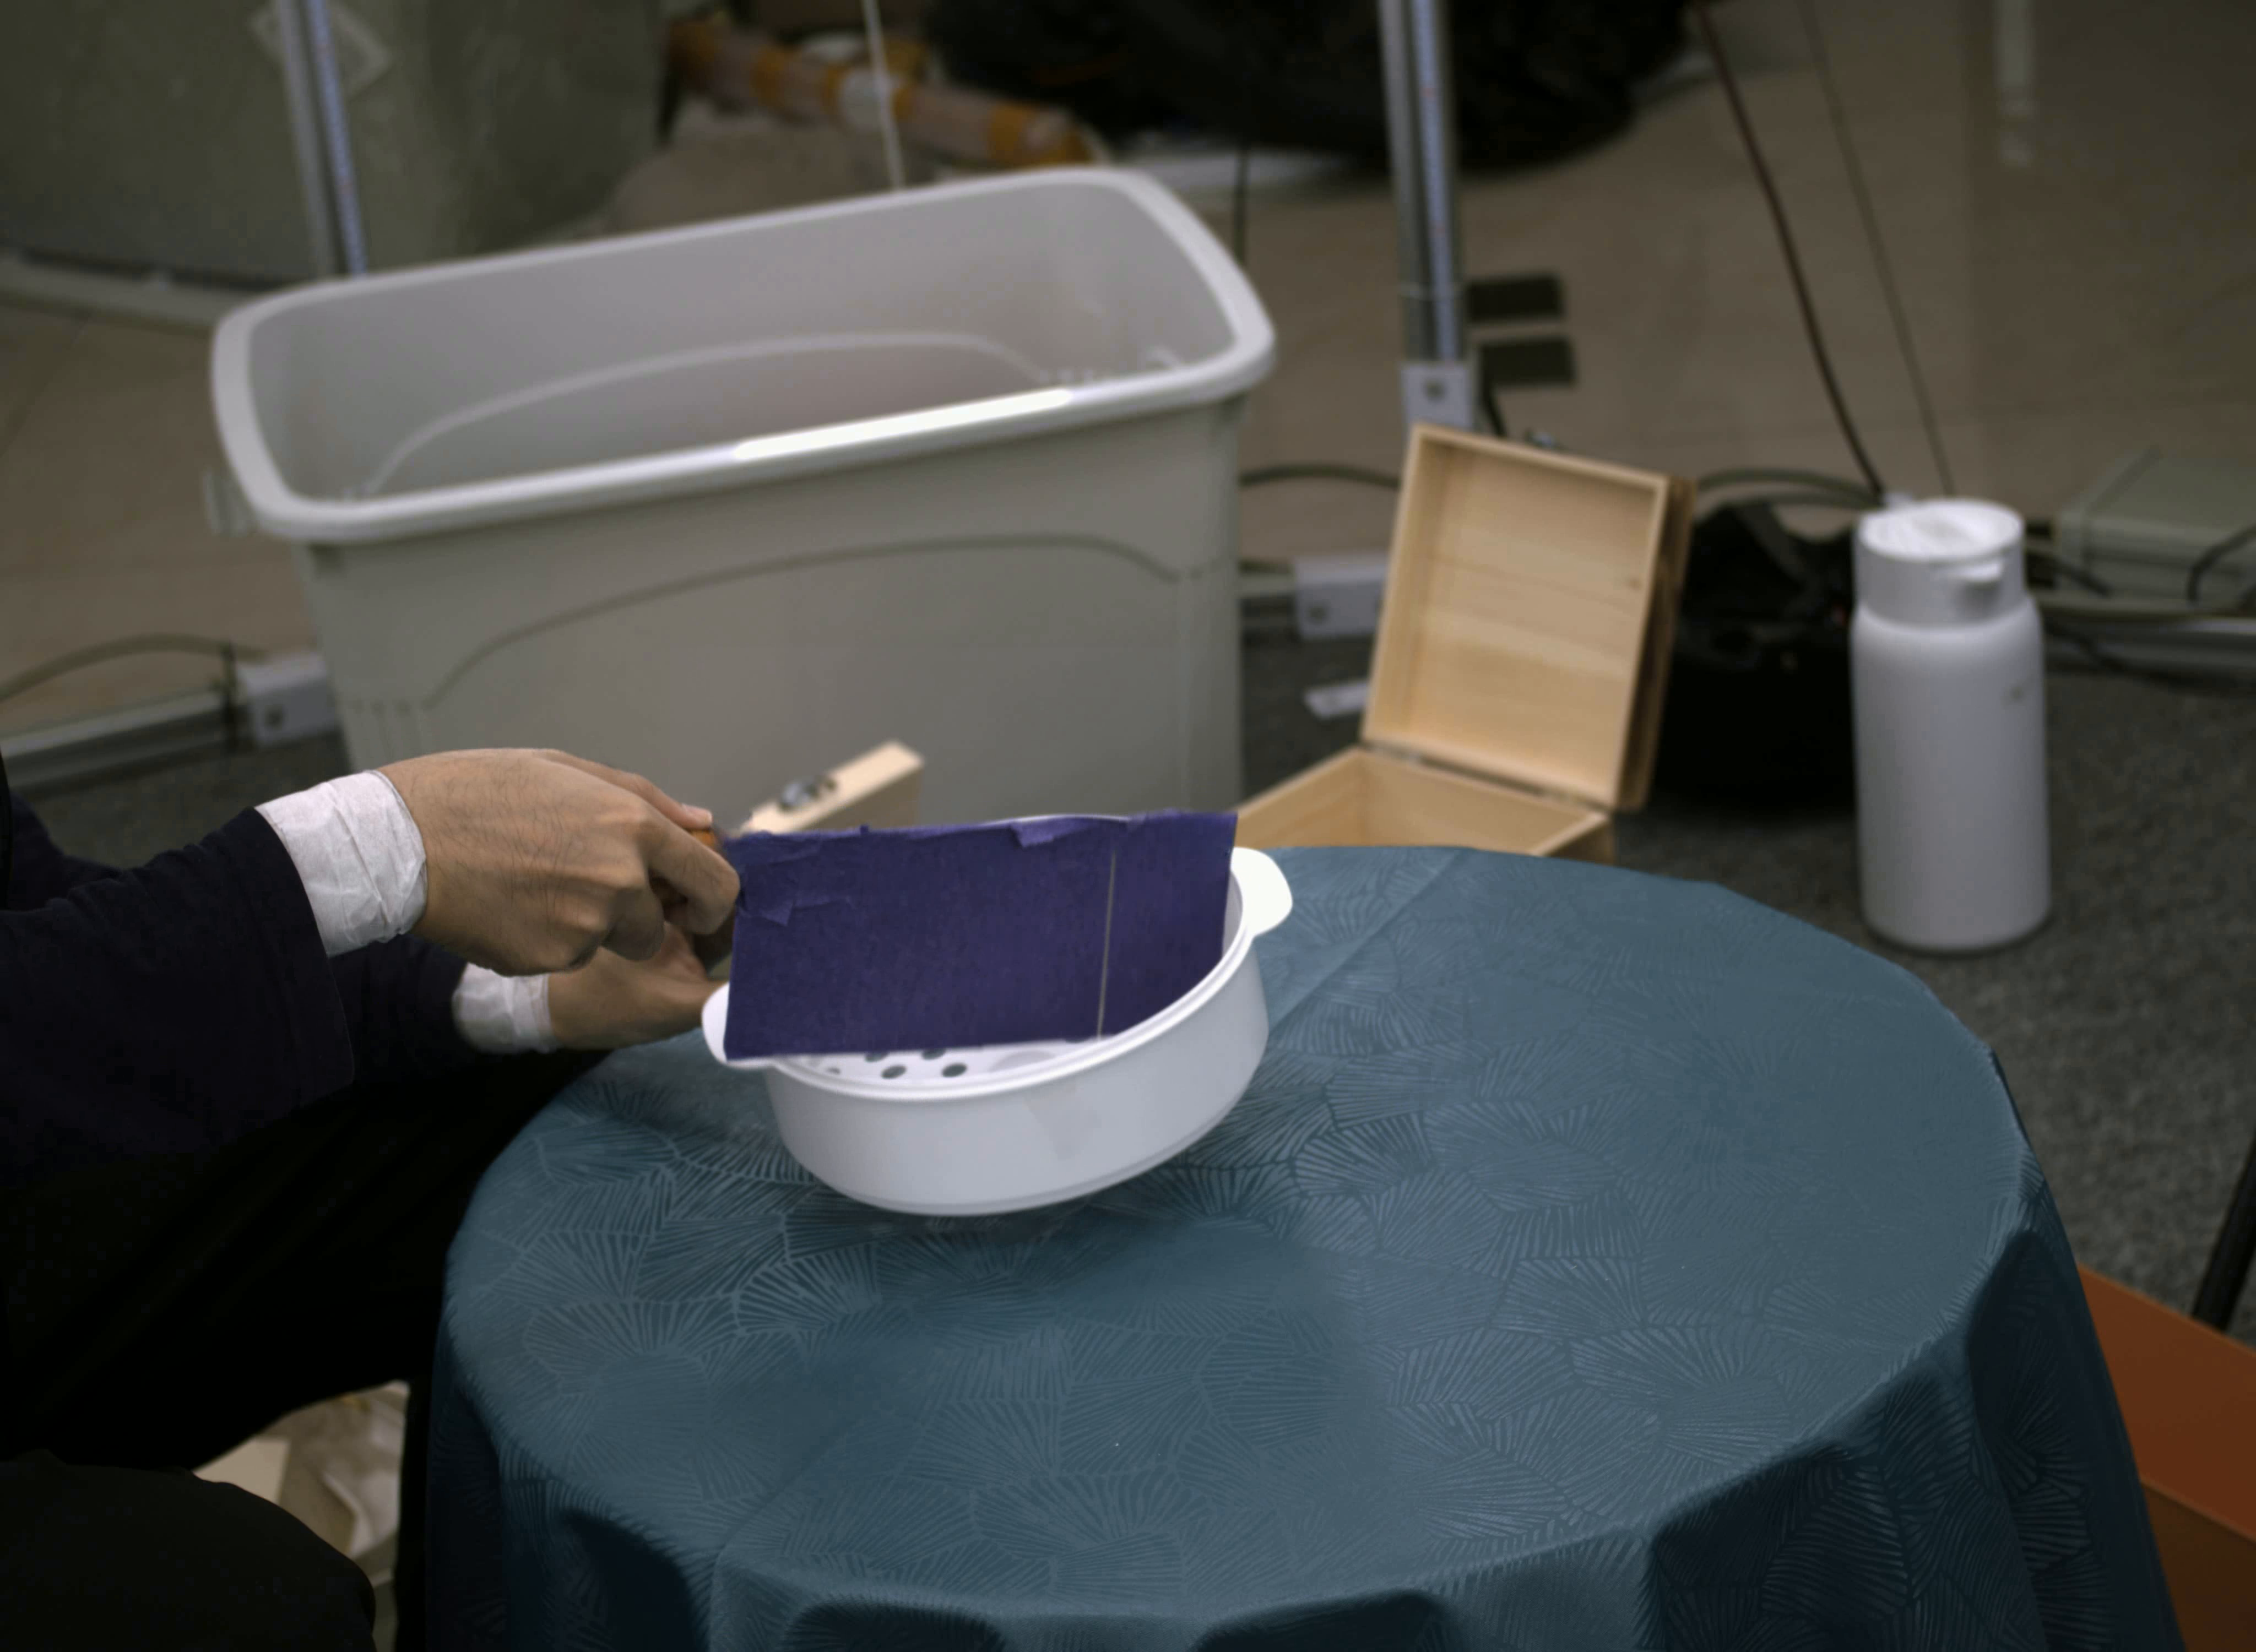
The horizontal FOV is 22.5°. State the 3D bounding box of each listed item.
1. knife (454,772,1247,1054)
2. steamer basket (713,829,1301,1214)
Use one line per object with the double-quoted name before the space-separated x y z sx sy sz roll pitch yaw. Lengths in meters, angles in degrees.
"knife" -0.098 0.039 2.107 0.314 0.105 0.032 -4 22 -24
"steamer basket" -0.041 0.074 2.173 0.230 0.070 0.199 -16 27 -4
